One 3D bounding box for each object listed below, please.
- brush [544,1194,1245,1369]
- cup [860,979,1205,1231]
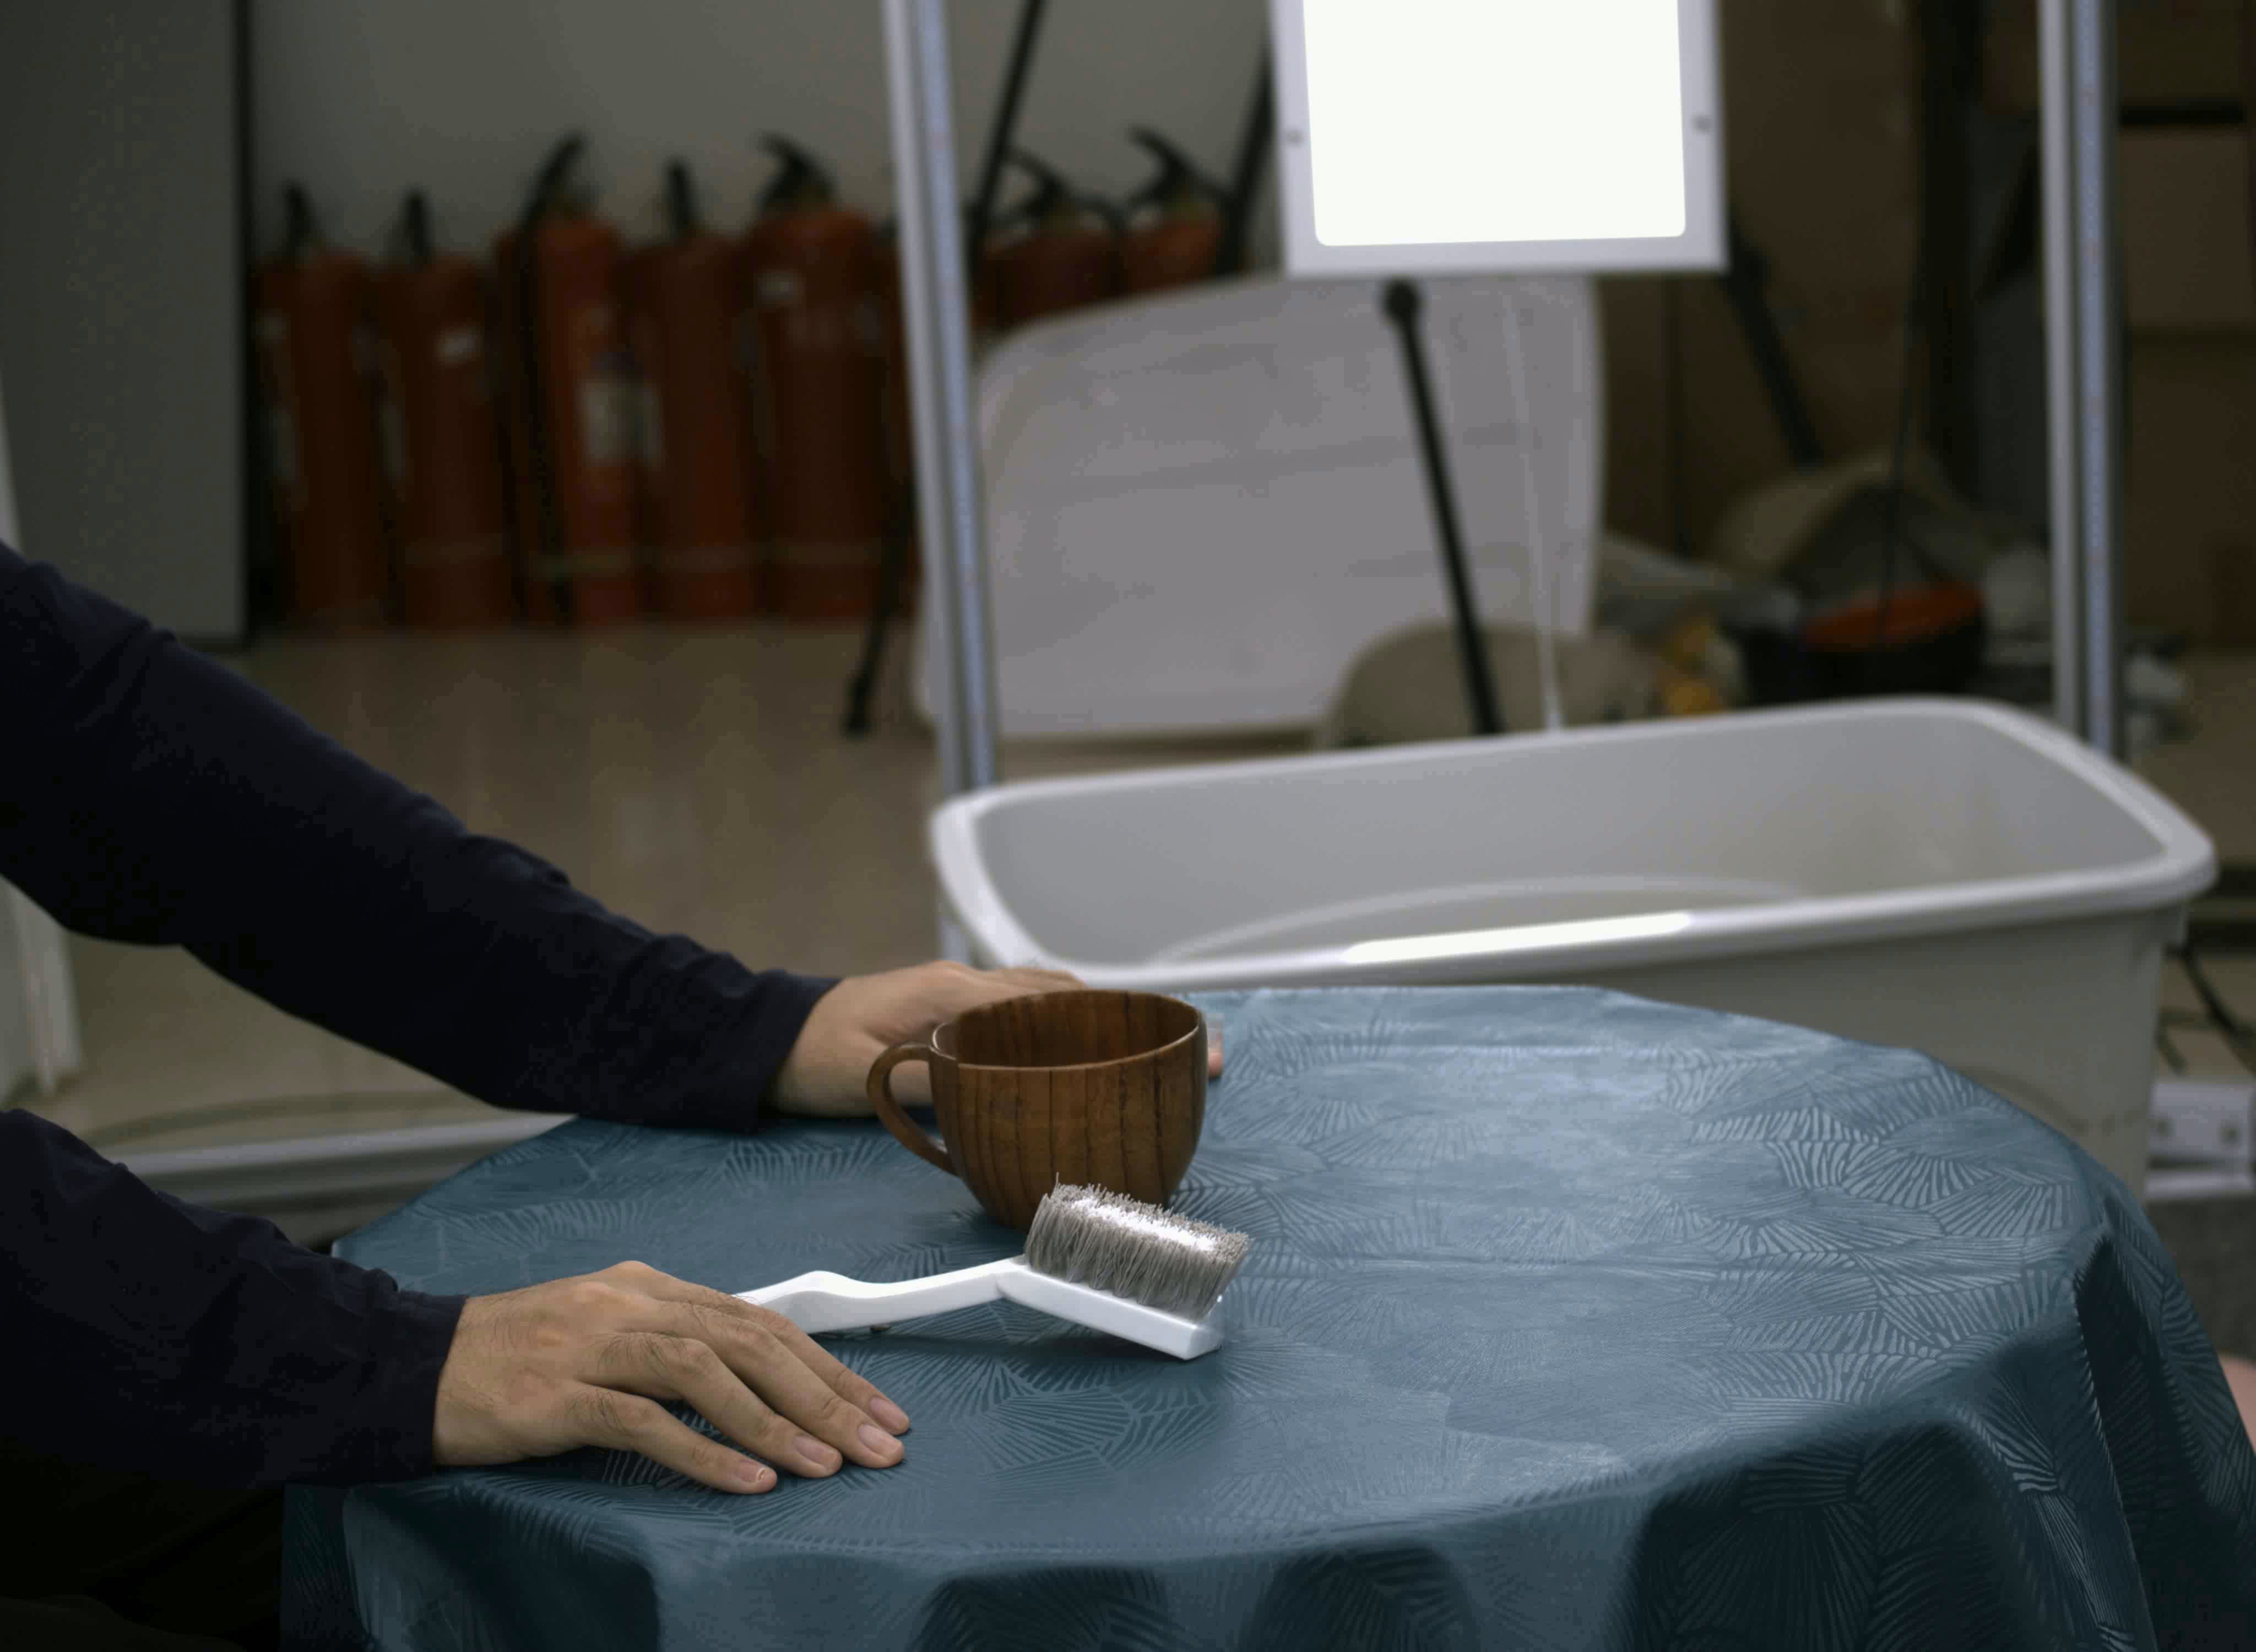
[{"bbox_3d":[-0.079,0.141,1.768,0.247,0.050,0.034,1,18,23],"label":"brush"},{"bbox_3d":[-0.032,0.097,1.885,0.120,0.068,0.095,0,16,11],"label":"cup"}]
